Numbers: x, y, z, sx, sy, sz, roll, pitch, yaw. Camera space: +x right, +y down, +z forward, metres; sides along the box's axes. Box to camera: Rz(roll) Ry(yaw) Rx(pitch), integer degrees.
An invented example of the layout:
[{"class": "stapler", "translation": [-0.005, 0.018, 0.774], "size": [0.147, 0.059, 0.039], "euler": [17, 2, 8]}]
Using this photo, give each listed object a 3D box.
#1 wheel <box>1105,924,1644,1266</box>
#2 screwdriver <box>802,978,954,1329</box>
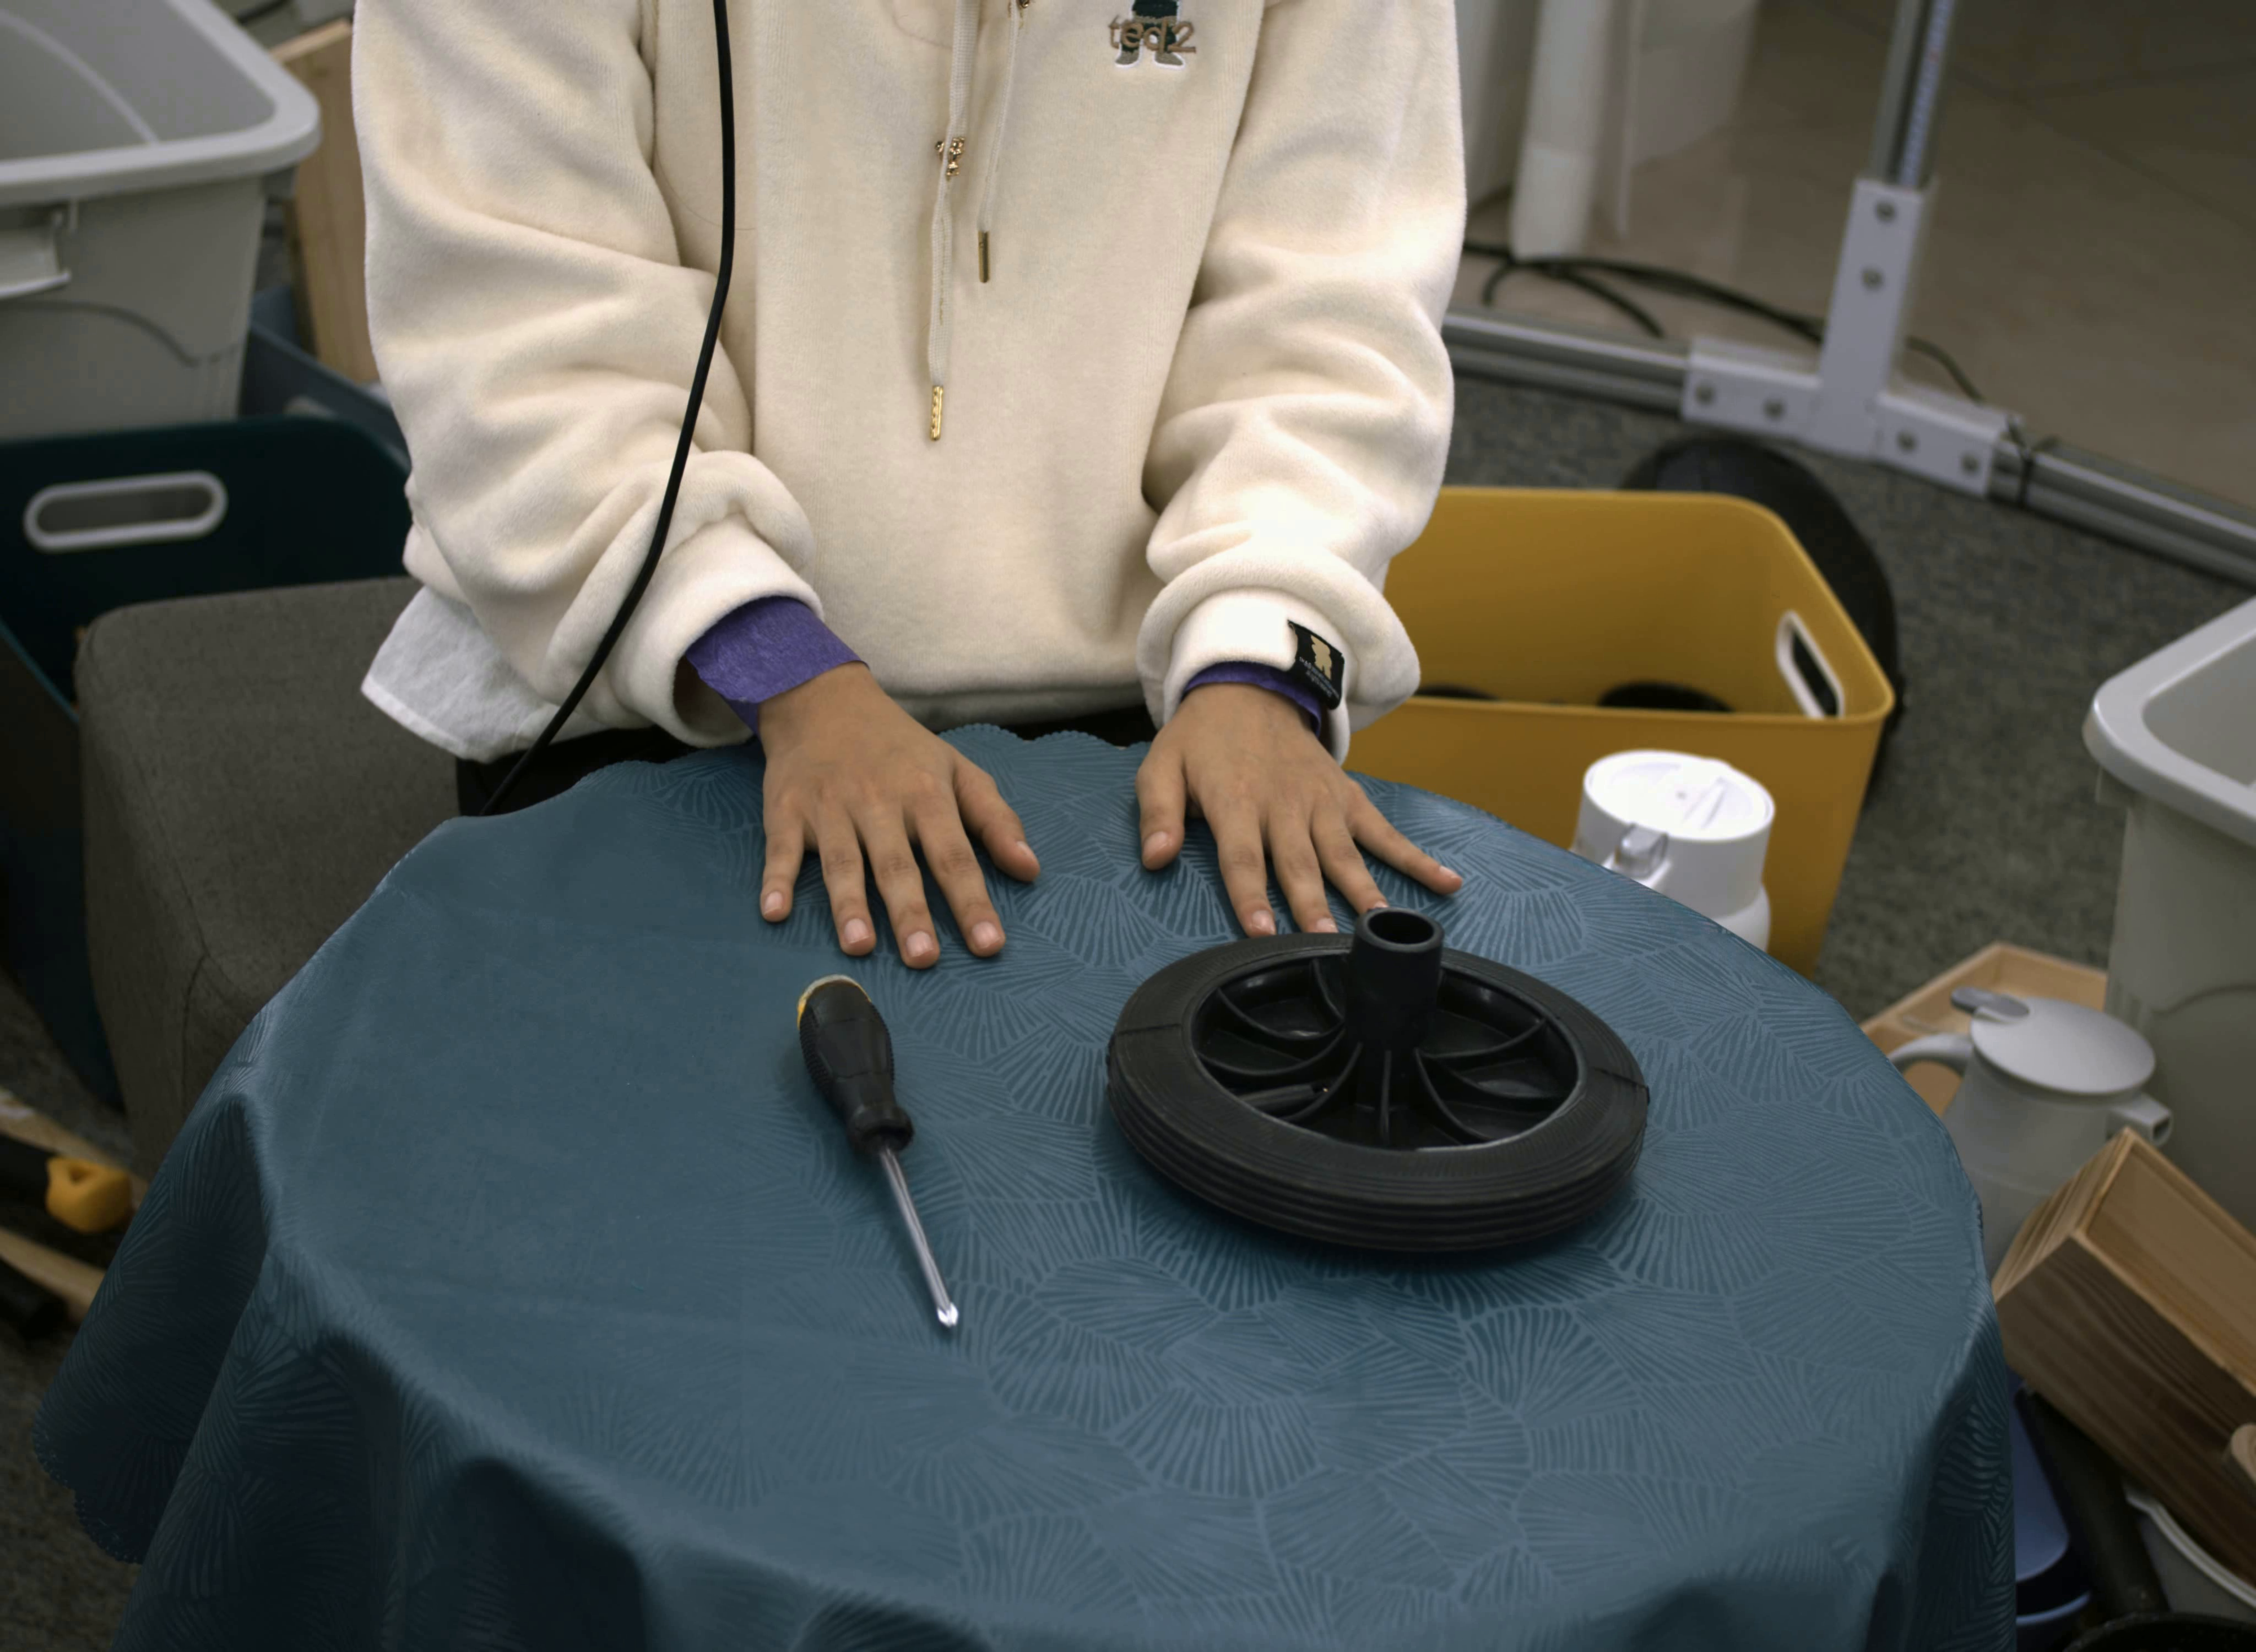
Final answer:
[{"class": "wheel", "translation": [0.087, 0.076, 1.835], "size": [0.188, 0.079, 0.189], "euler": [23, 33, 30]}, {"class": "screwdriver", "translation": [-0.077, 0.109, 1.787], "size": [0.031, 0.031, 0.198], "euler": [-2, 30, -18]}]
